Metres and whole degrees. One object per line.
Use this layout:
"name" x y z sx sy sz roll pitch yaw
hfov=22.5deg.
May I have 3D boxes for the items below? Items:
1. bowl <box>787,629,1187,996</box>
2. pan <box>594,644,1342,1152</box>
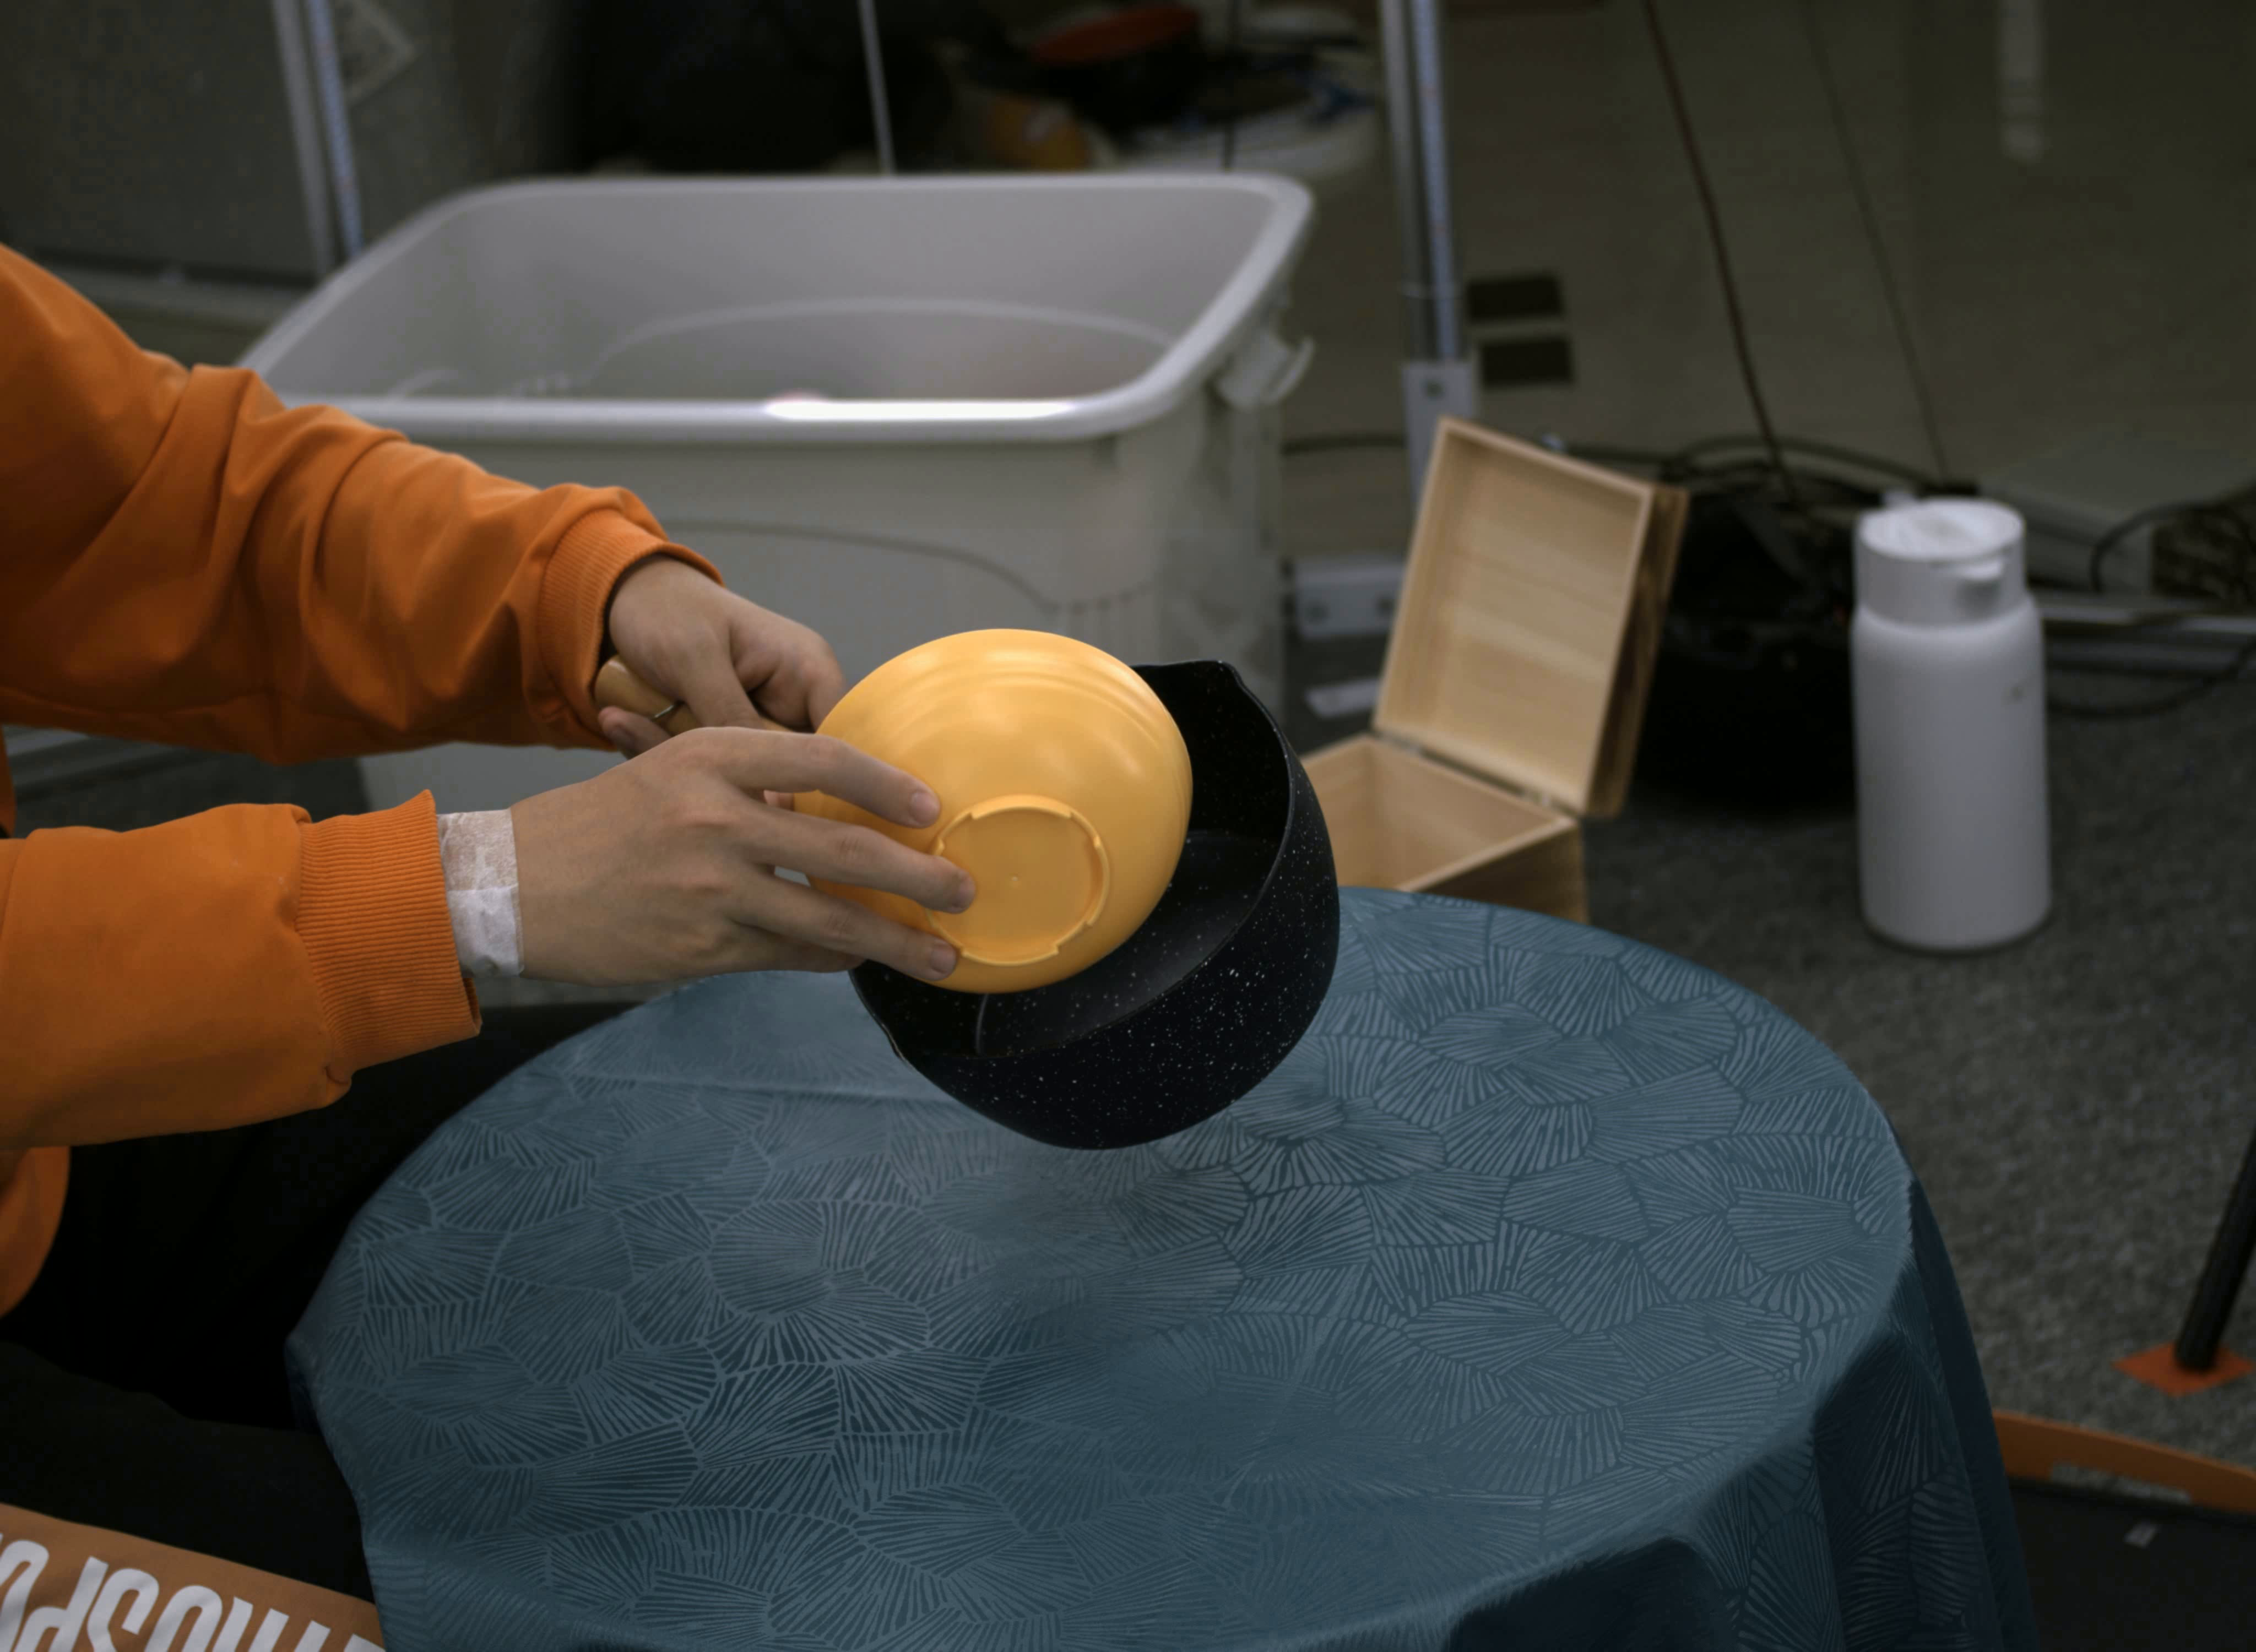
"bowl" -0.046 0.007 2.000 0.145 0.148 0.059 -9 33 -5
"pan" -0.068 0.011 2.152 0.340 0.110 0.205 19 65 39
